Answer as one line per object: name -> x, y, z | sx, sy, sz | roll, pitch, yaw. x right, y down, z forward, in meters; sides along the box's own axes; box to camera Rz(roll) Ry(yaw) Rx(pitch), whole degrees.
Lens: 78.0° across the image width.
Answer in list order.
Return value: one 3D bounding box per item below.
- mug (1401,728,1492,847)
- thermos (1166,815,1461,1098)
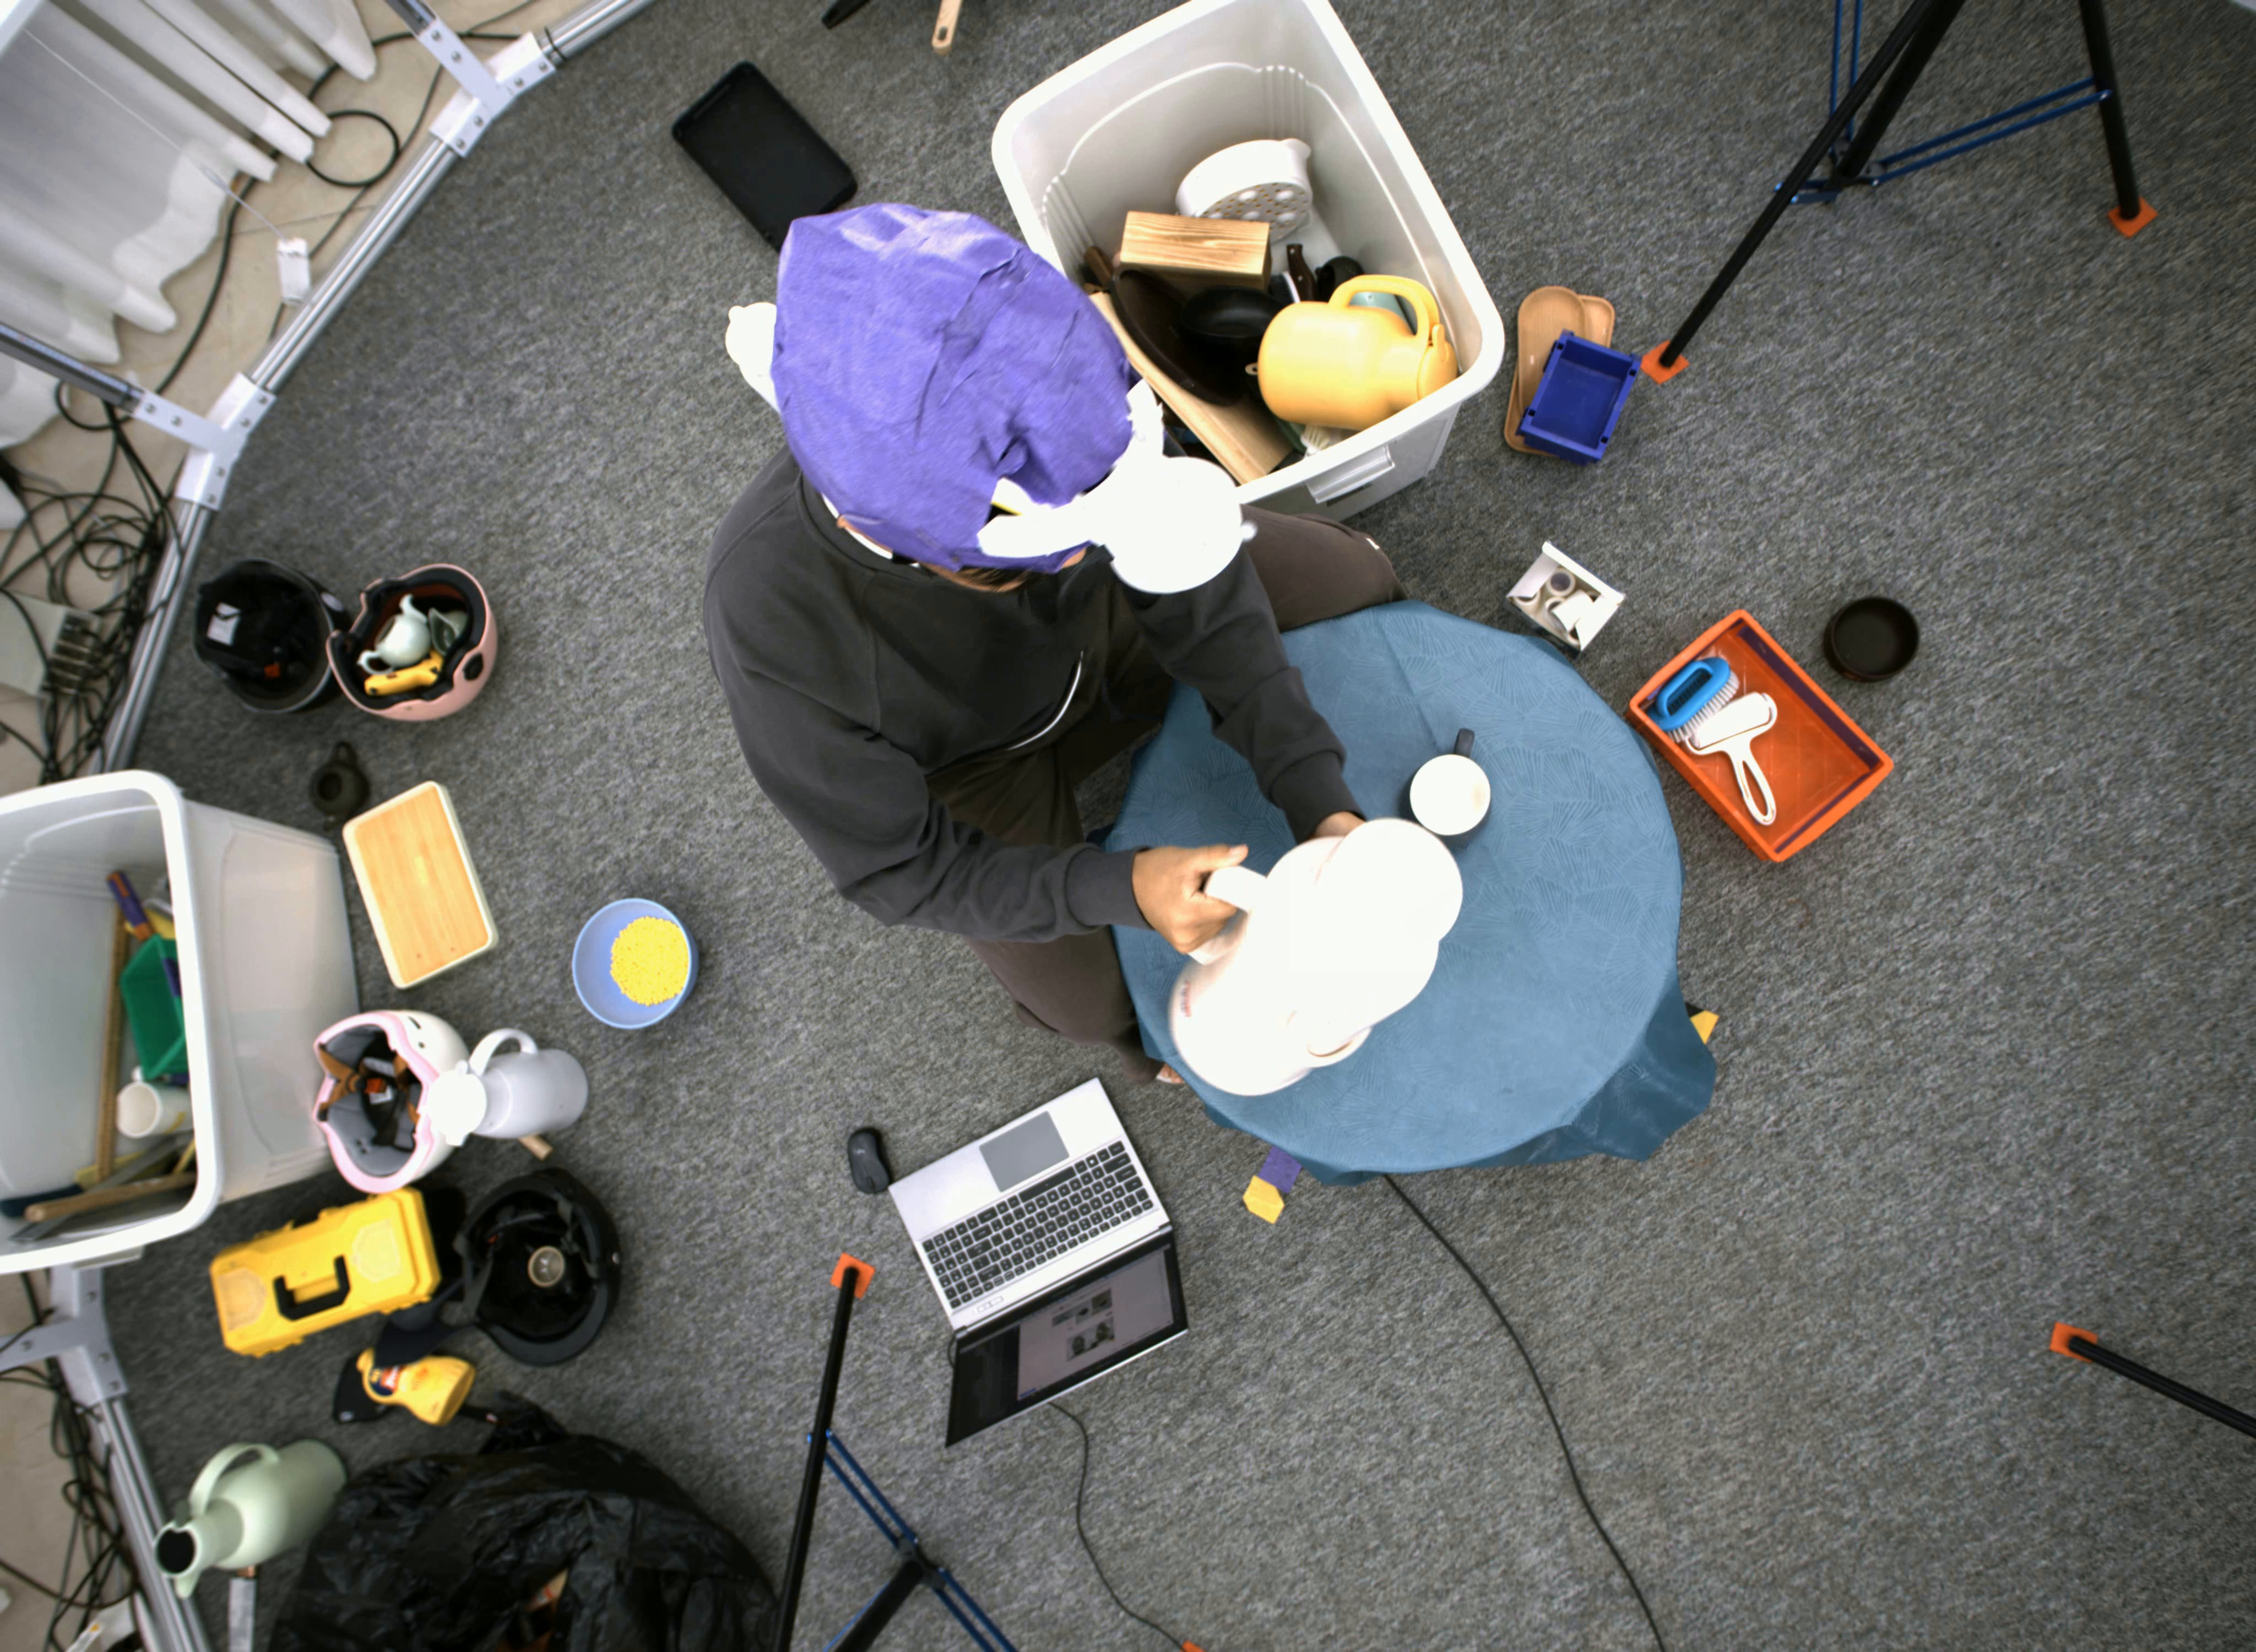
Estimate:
mug -> 0.332, -0.043, 1.410 | 0.093, 0.090, 0.123 | 19, 89, 12
thermos -> 0.146, 0.111, 1.221 | 0.207, 0.414, 0.171 | 23, 64, -4
